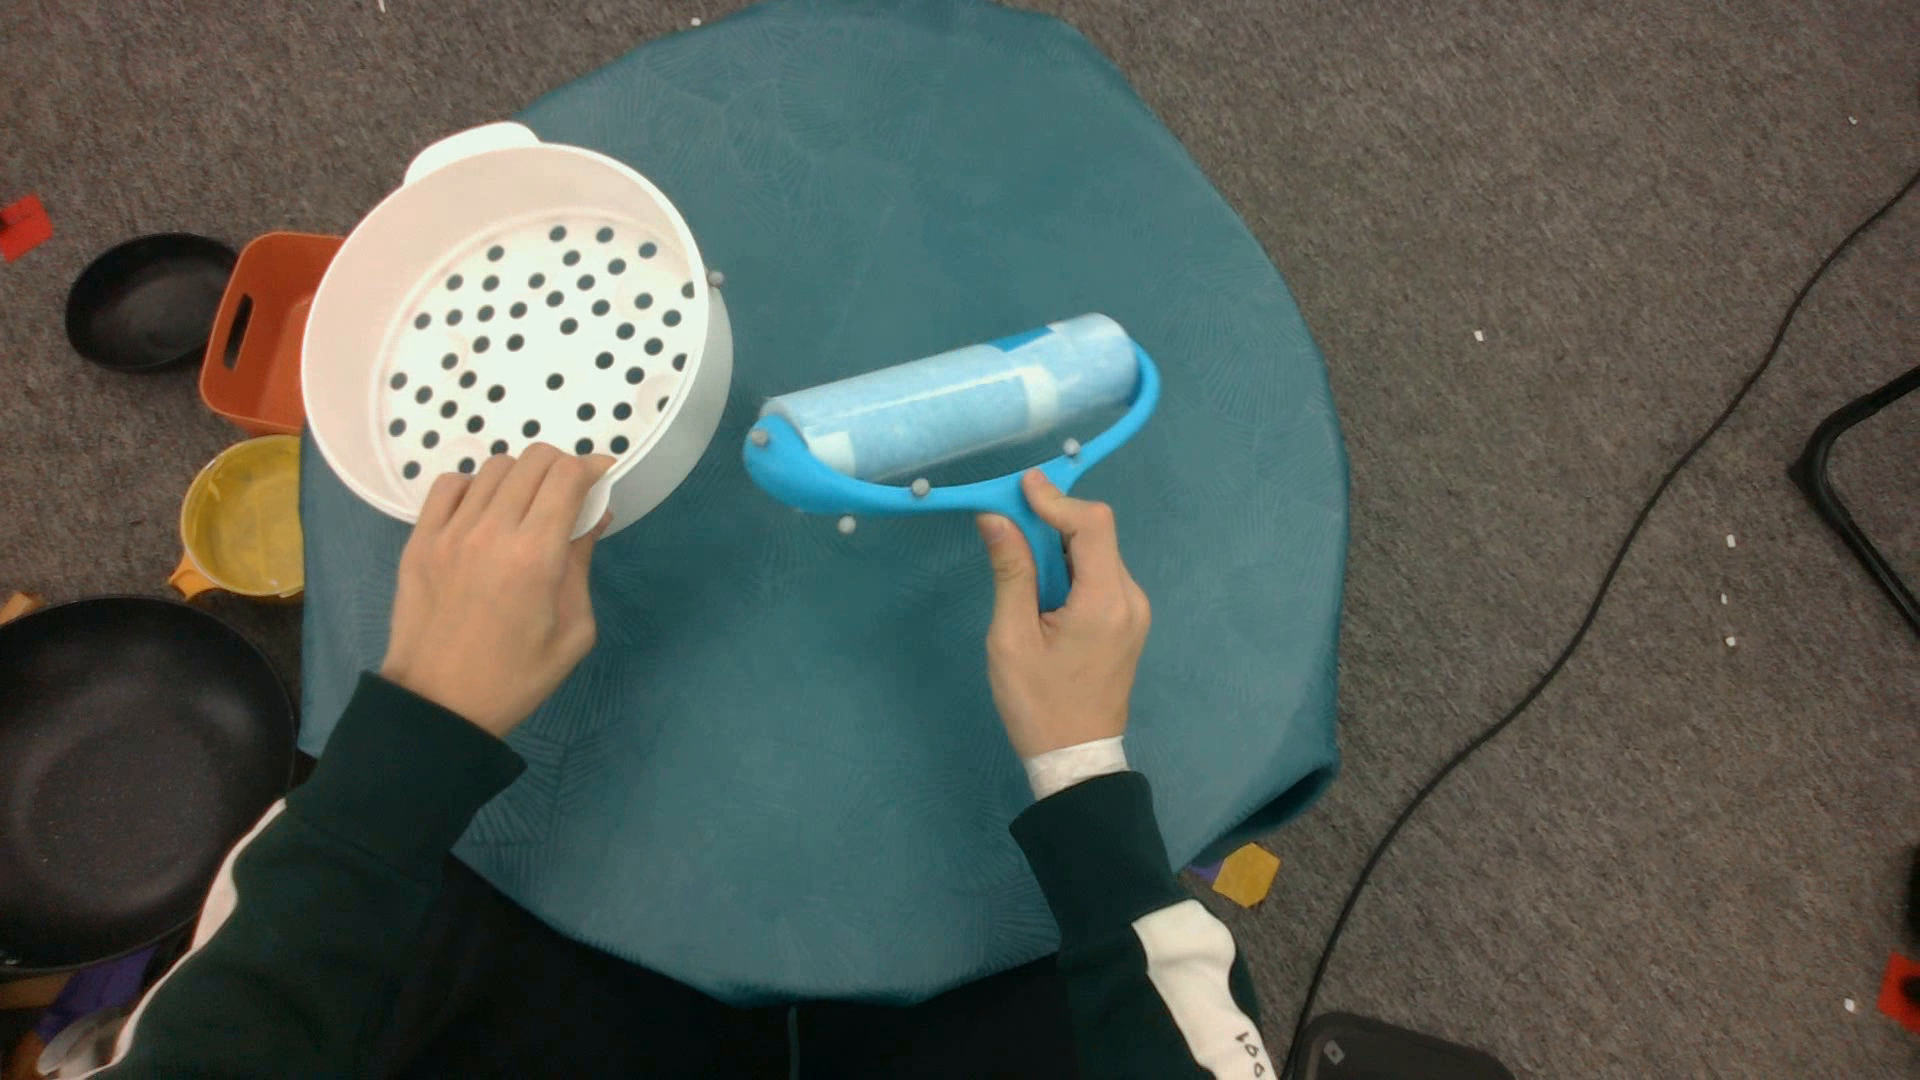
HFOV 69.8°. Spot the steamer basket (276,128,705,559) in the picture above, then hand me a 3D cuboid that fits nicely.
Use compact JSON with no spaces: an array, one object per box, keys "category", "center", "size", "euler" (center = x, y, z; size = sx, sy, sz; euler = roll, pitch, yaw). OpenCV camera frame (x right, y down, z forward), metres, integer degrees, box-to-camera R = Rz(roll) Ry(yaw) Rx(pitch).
[{"category":"steamer basket","center":[-0.230,-0.093,0.686],"size":[0.202,0.069,0.231],"euler":[-19,71,2]}]

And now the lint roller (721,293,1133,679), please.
[{"category":"lint roller","center":[0.013,-0.021,0.680],"size":[0.230,0.067,0.180],"euler":[-24,85,-32]}]
